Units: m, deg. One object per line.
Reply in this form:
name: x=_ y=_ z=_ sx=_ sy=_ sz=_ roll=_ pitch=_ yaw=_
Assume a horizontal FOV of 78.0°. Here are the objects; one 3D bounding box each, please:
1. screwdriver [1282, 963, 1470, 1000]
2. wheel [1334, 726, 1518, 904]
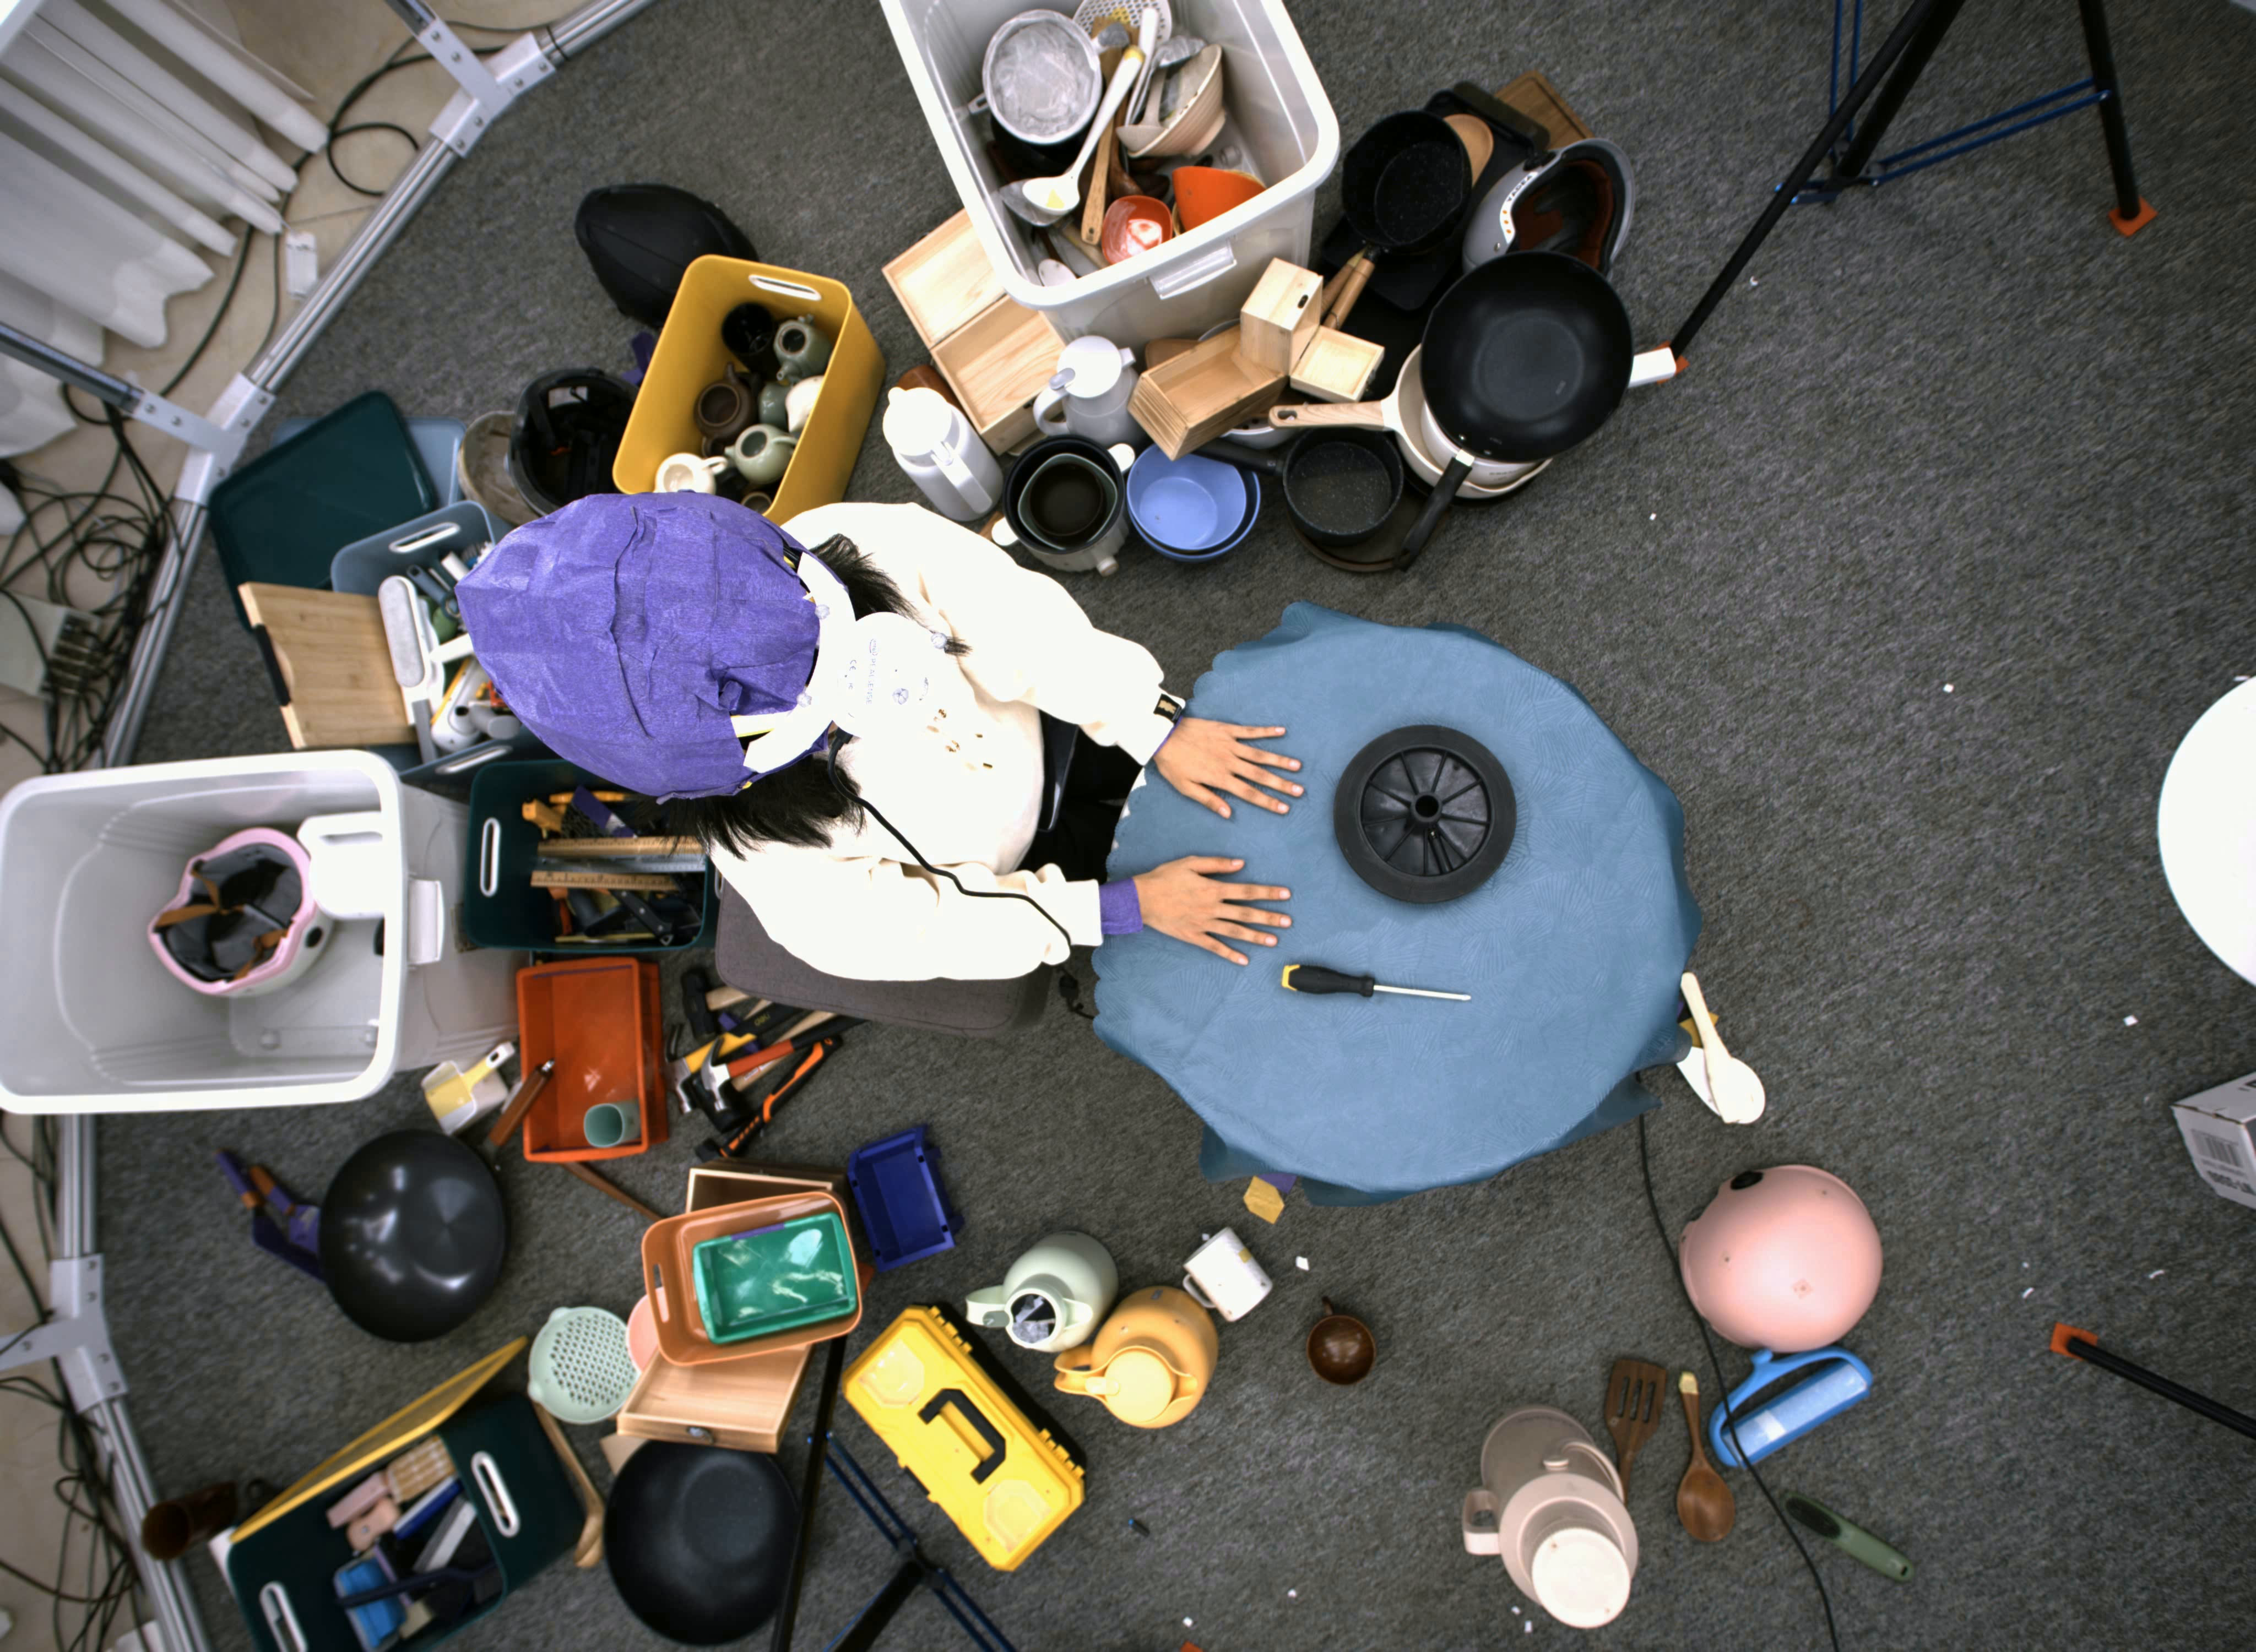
screwdriver: x=0.260 y=0.163 z=1.445 sx=0.197 sy=0.031 sz=0.031 roll=3 pitch=86 yaw=8
wheel: x=0.308 y=-0.015 z=1.420 sx=0.188 sy=0.079 sz=0.189 roll=-44 pitch=83 yaw=5
